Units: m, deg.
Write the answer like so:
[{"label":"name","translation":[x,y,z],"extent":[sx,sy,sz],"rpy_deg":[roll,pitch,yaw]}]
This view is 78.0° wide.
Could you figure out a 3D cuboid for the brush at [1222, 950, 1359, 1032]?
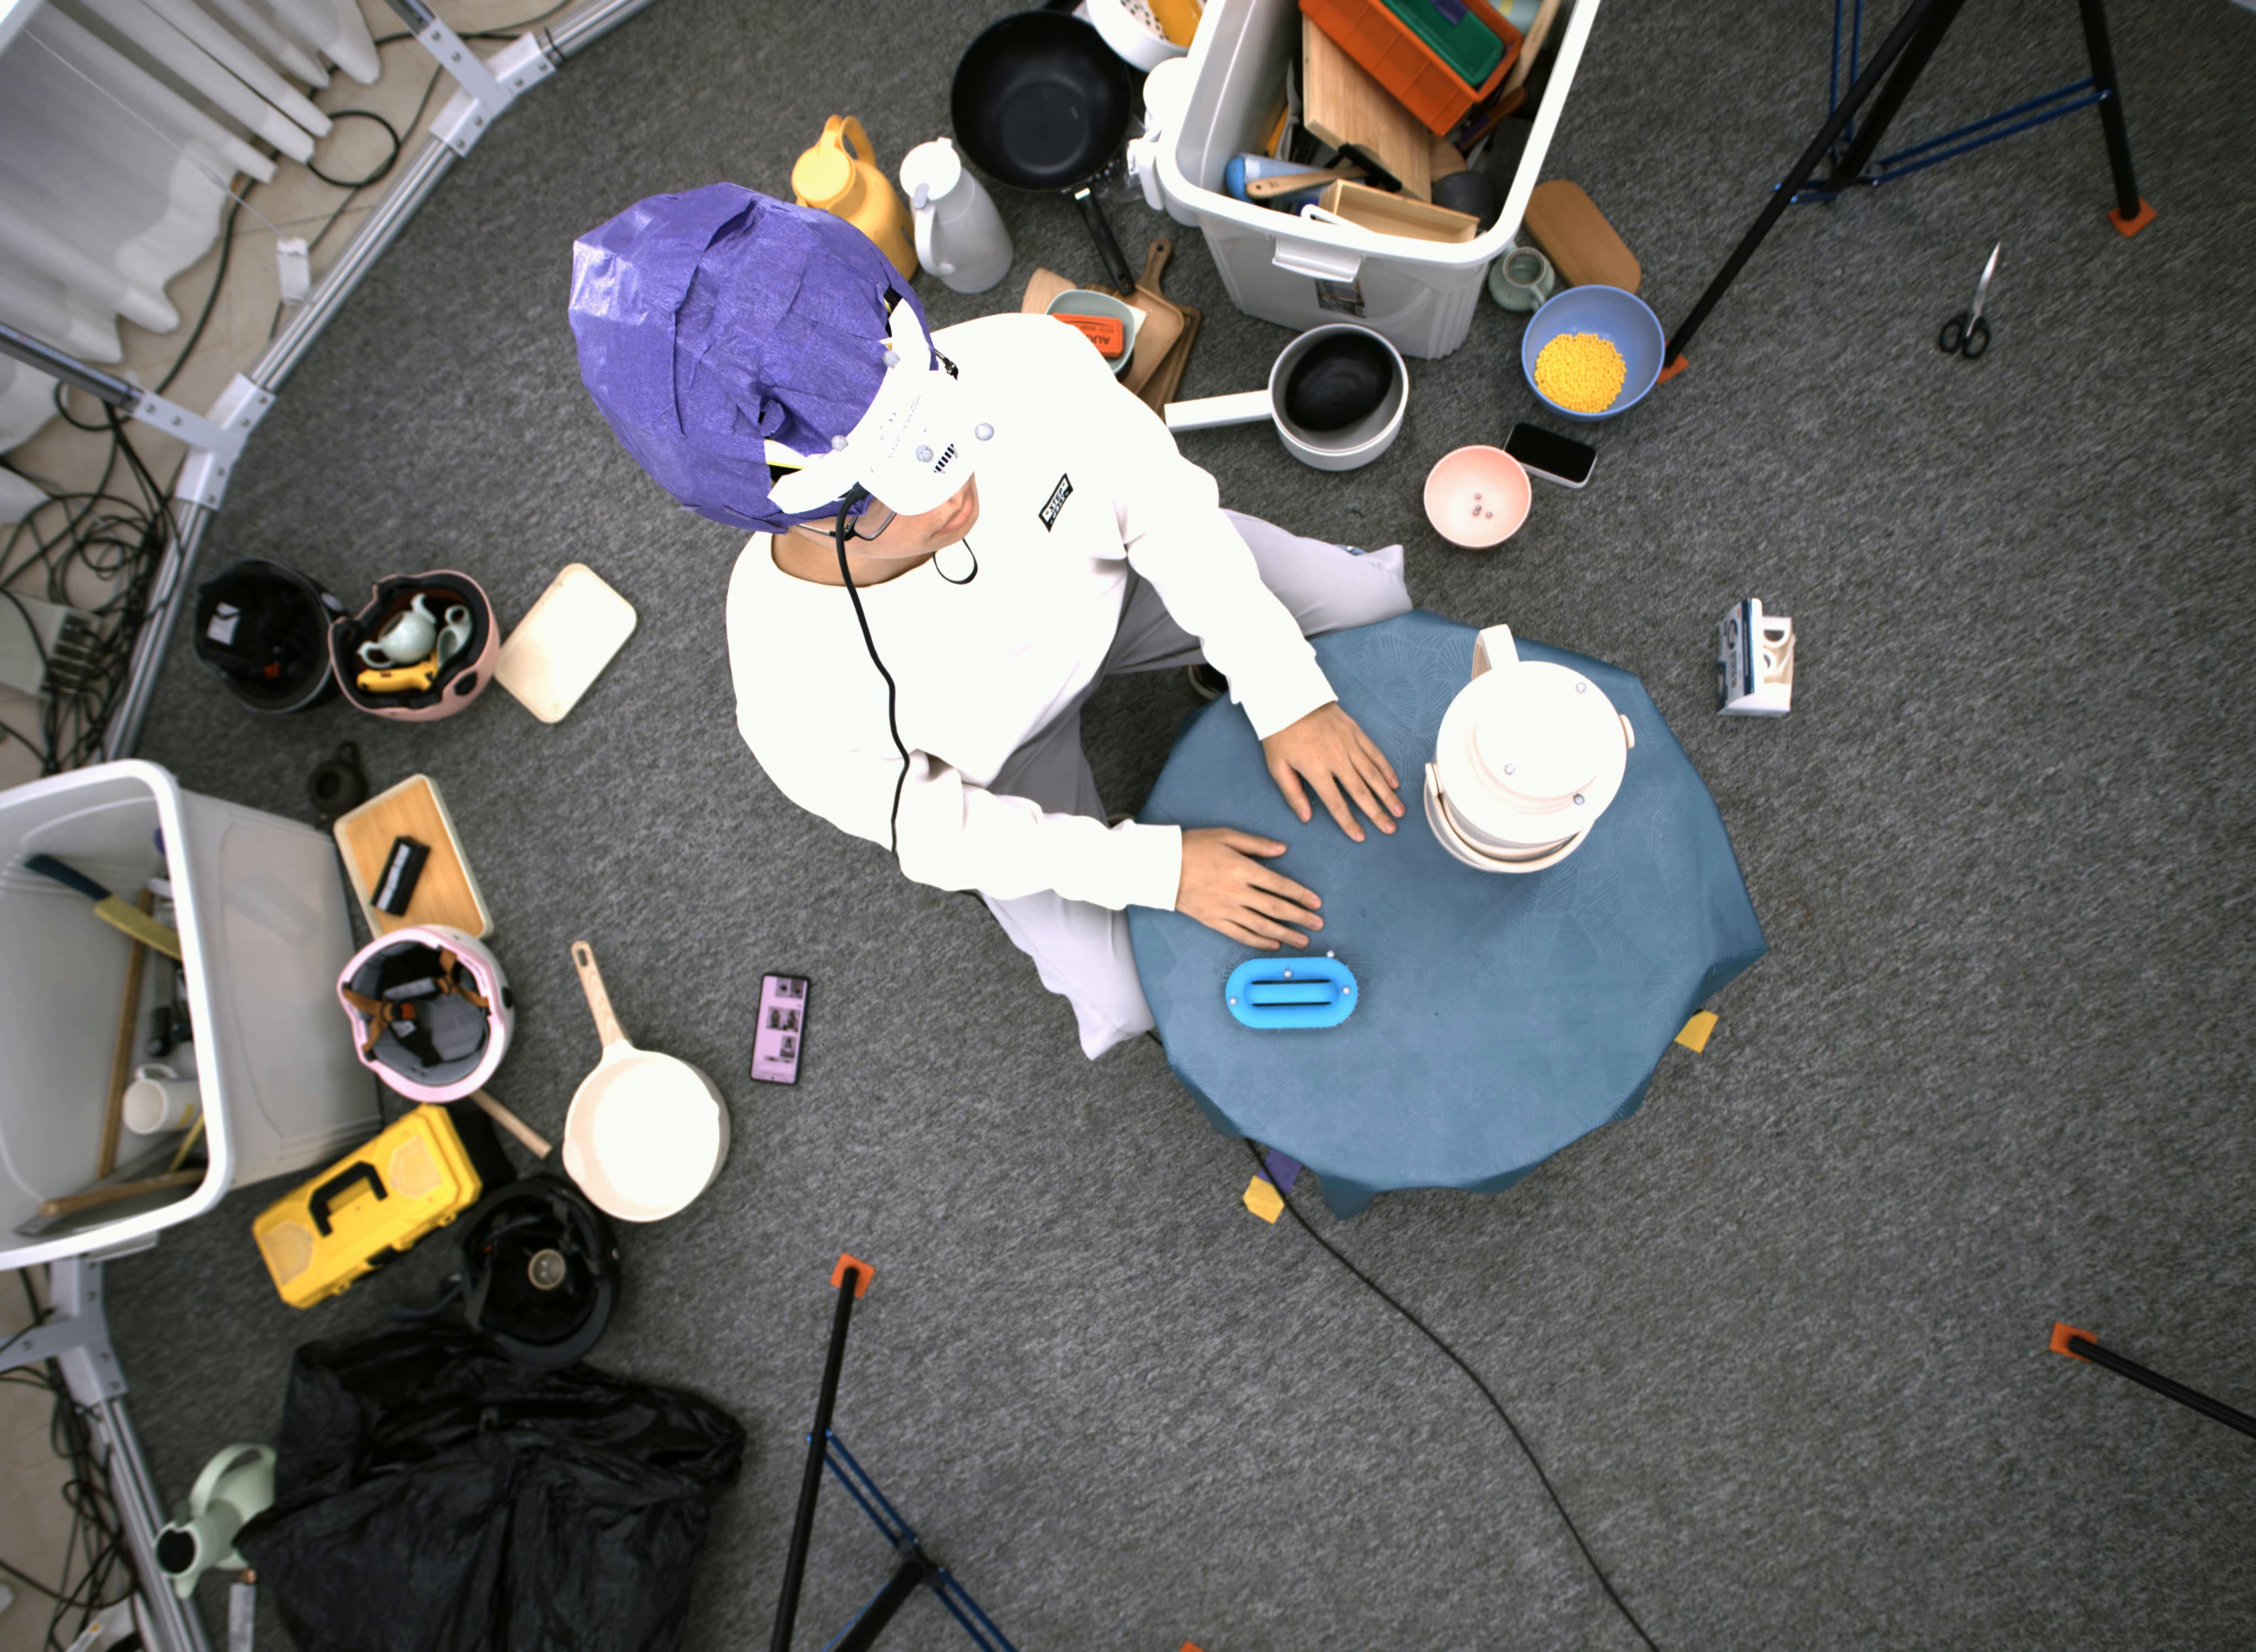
[{"label":"brush","translation":[0.168,0.171,1.440],"extent":[0.142,0.063,0.084],"rpy_deg":[-1,90,11]}]

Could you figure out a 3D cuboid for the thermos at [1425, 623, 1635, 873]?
[{"label":"thermos","translation":[0.355,-0.068,1.250],"extent":[0.176,0.407,0.205],"rpy_deg":[-15,82,10]}]
